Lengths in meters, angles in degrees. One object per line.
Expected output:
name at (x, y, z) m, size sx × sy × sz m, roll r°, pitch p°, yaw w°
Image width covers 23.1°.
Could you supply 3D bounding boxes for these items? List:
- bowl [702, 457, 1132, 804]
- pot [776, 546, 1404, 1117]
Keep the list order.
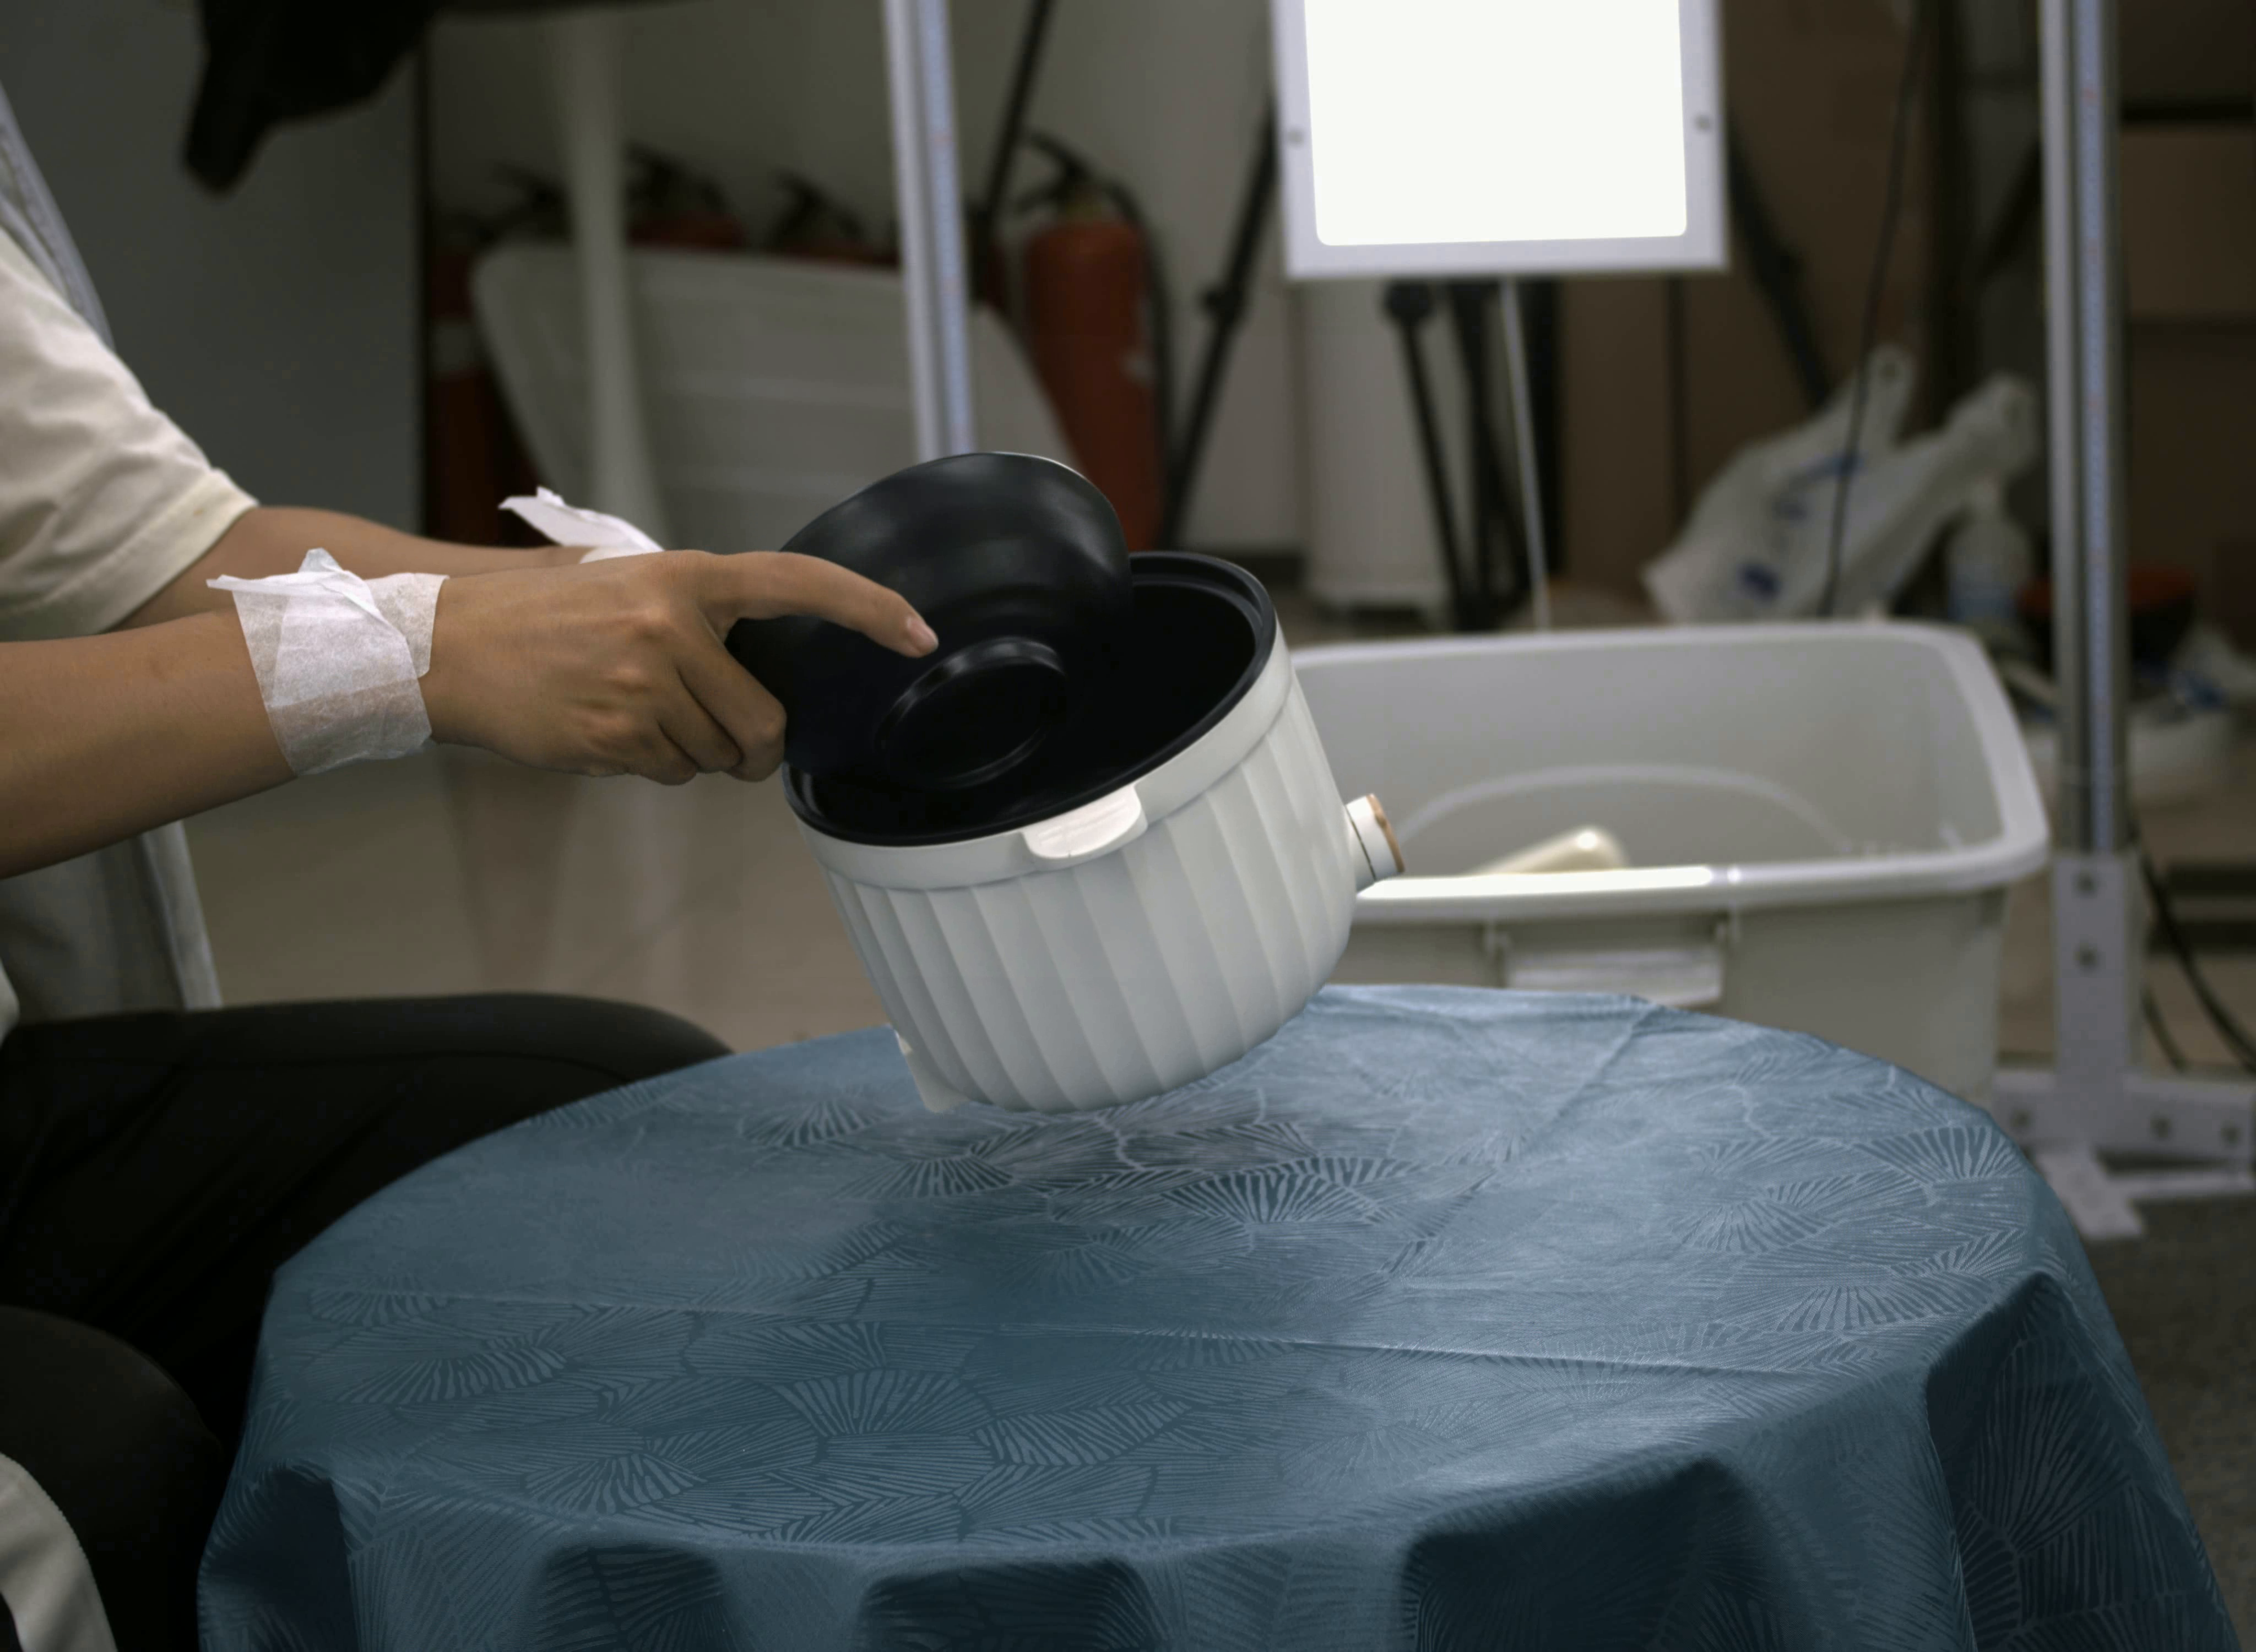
bowl at (-0.061, -0.054, 1.847) m, size 0.166 × 0.139 × 0.067 m, roll 5°, pitch 43°, yaw -43°
pot at (-0.009, 0.005, 1.921) m, size 0.190 × 0.142 × 0.241 m, roll -26°, pitch 28°, yaw 1°
